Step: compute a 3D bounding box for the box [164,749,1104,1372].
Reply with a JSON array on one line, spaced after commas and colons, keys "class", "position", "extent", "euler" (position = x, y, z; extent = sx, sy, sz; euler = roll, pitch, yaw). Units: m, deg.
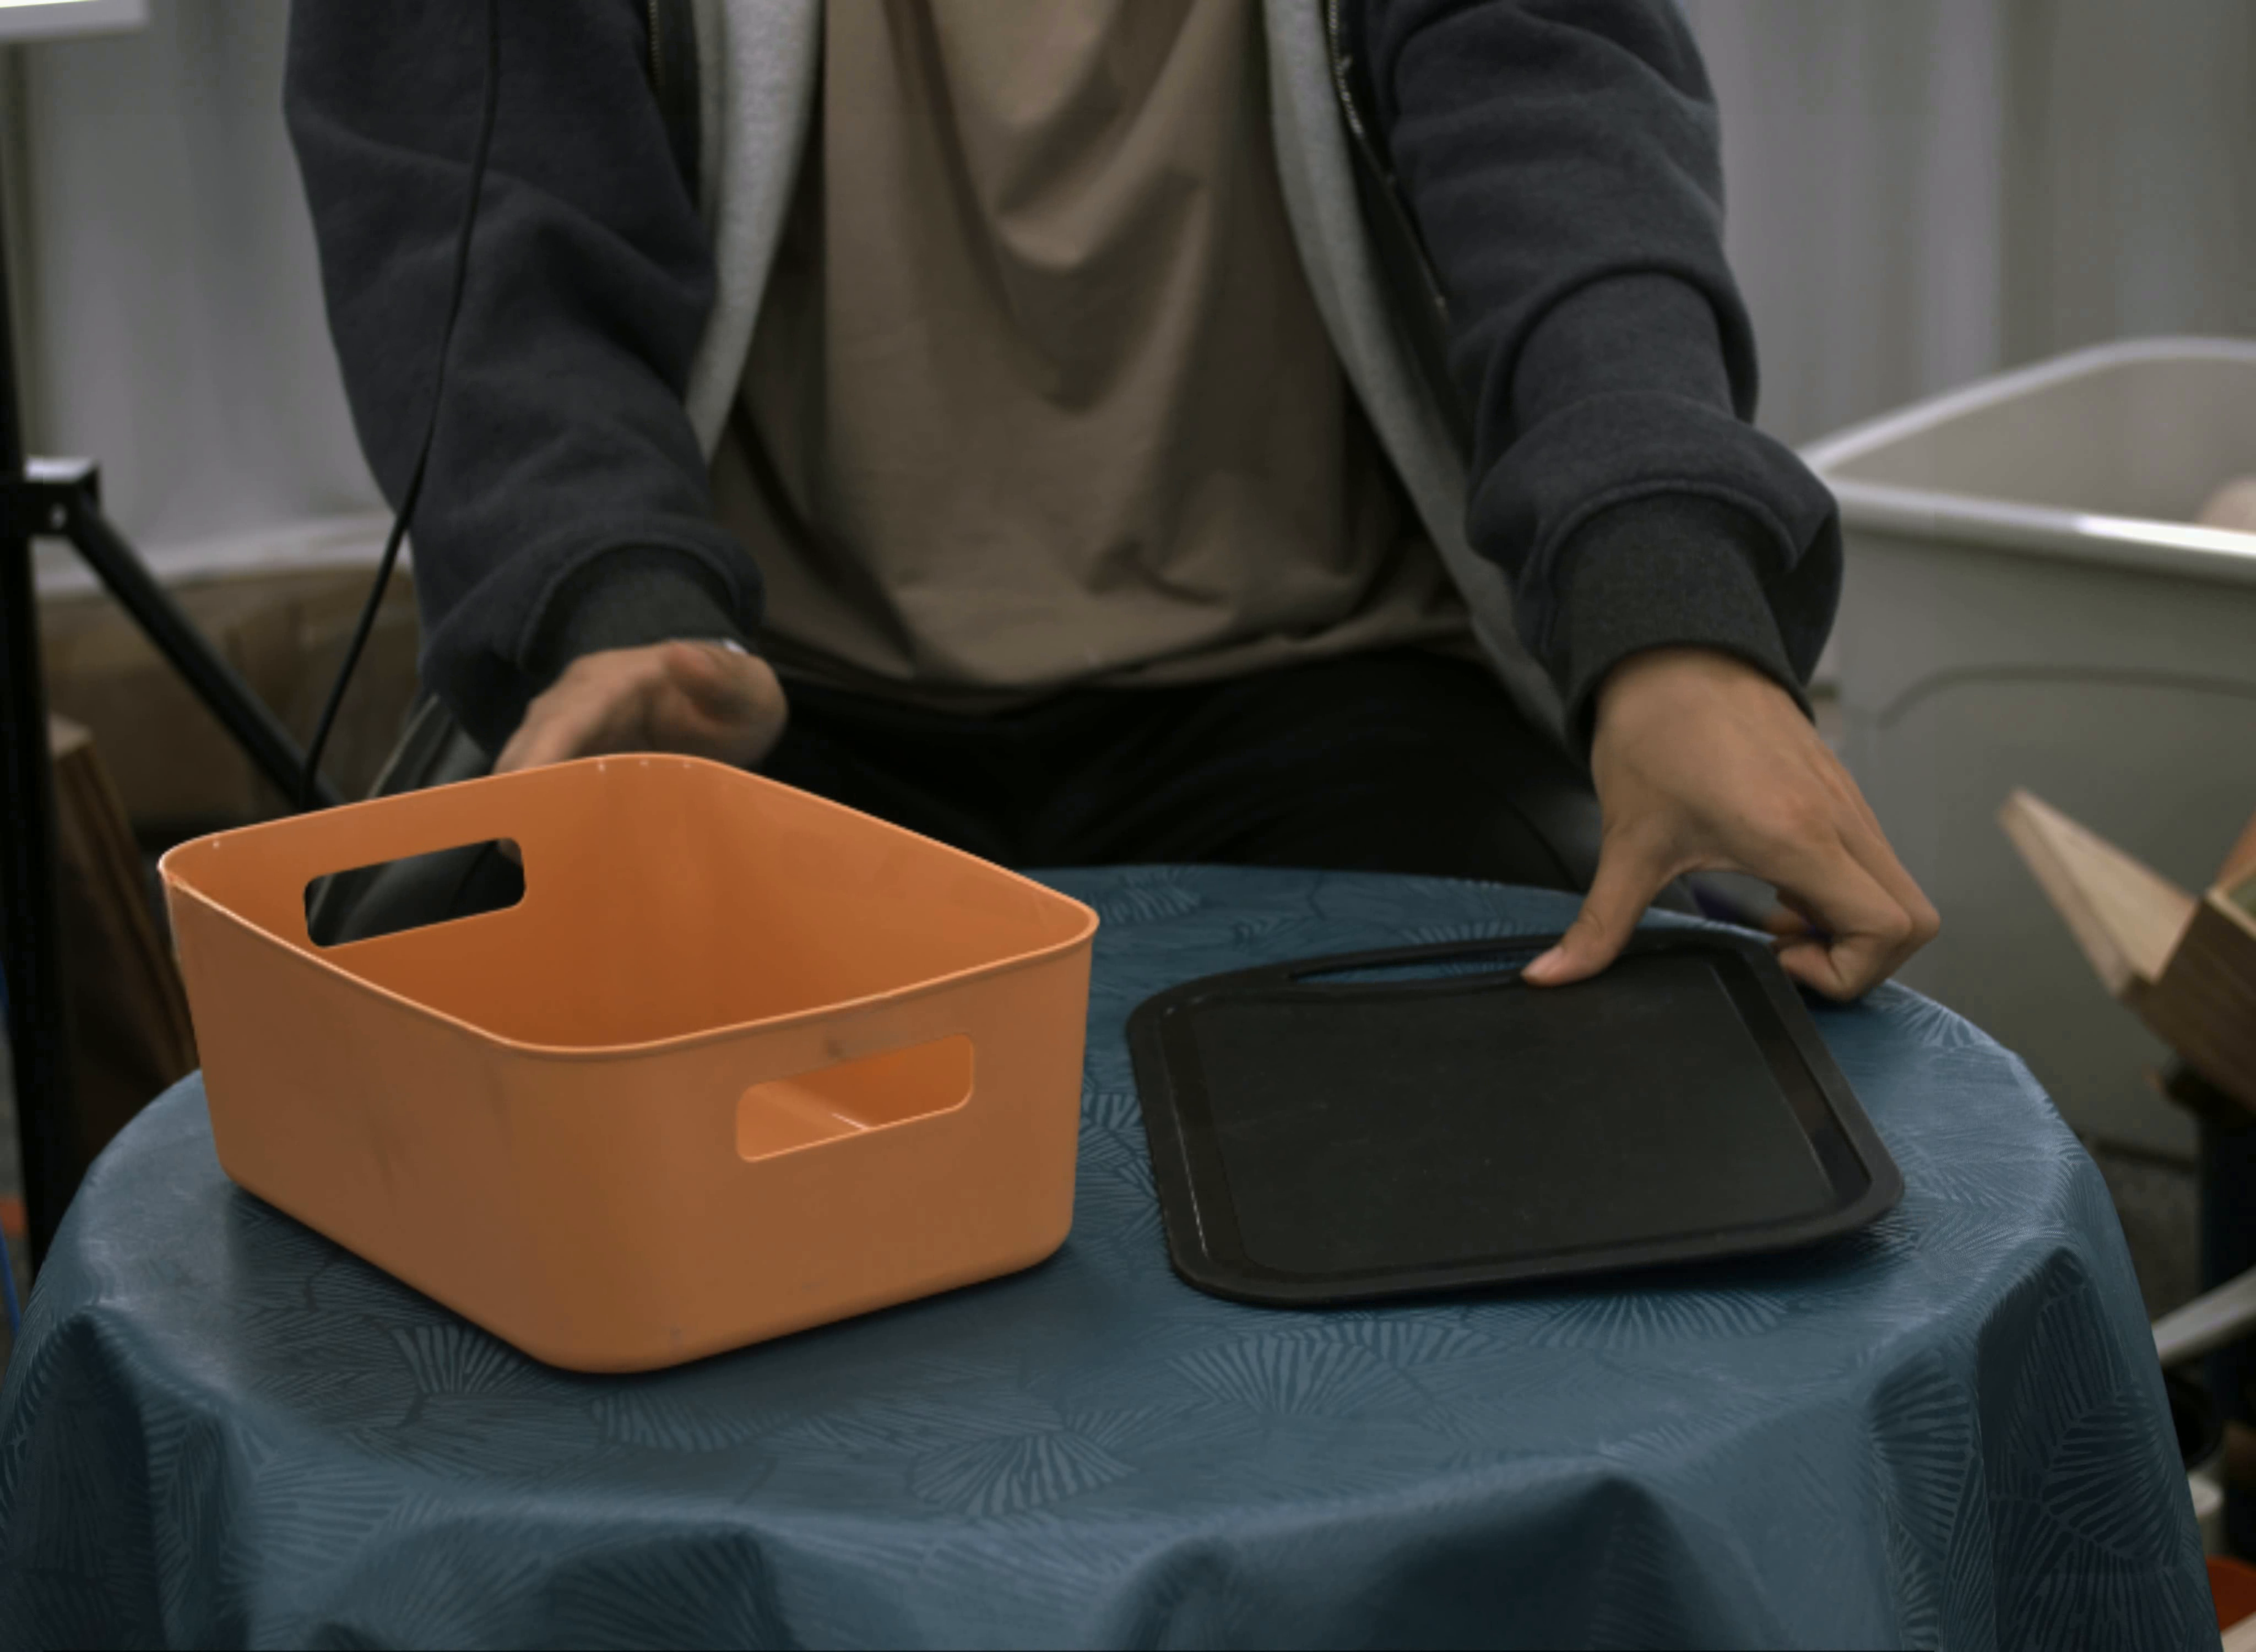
[{"class": "box", "position": [-0.143, 0.064, 1.549], "extent": [0.195, 0.102, 0.279], "euler": [-13, 19, -32]}]

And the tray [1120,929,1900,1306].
[{"class": "tray", "position": [0.107, 0.081, 1.610], "extent": [0.210, 0.010, 0.327], "euler": [-6, 16, -1]}]
